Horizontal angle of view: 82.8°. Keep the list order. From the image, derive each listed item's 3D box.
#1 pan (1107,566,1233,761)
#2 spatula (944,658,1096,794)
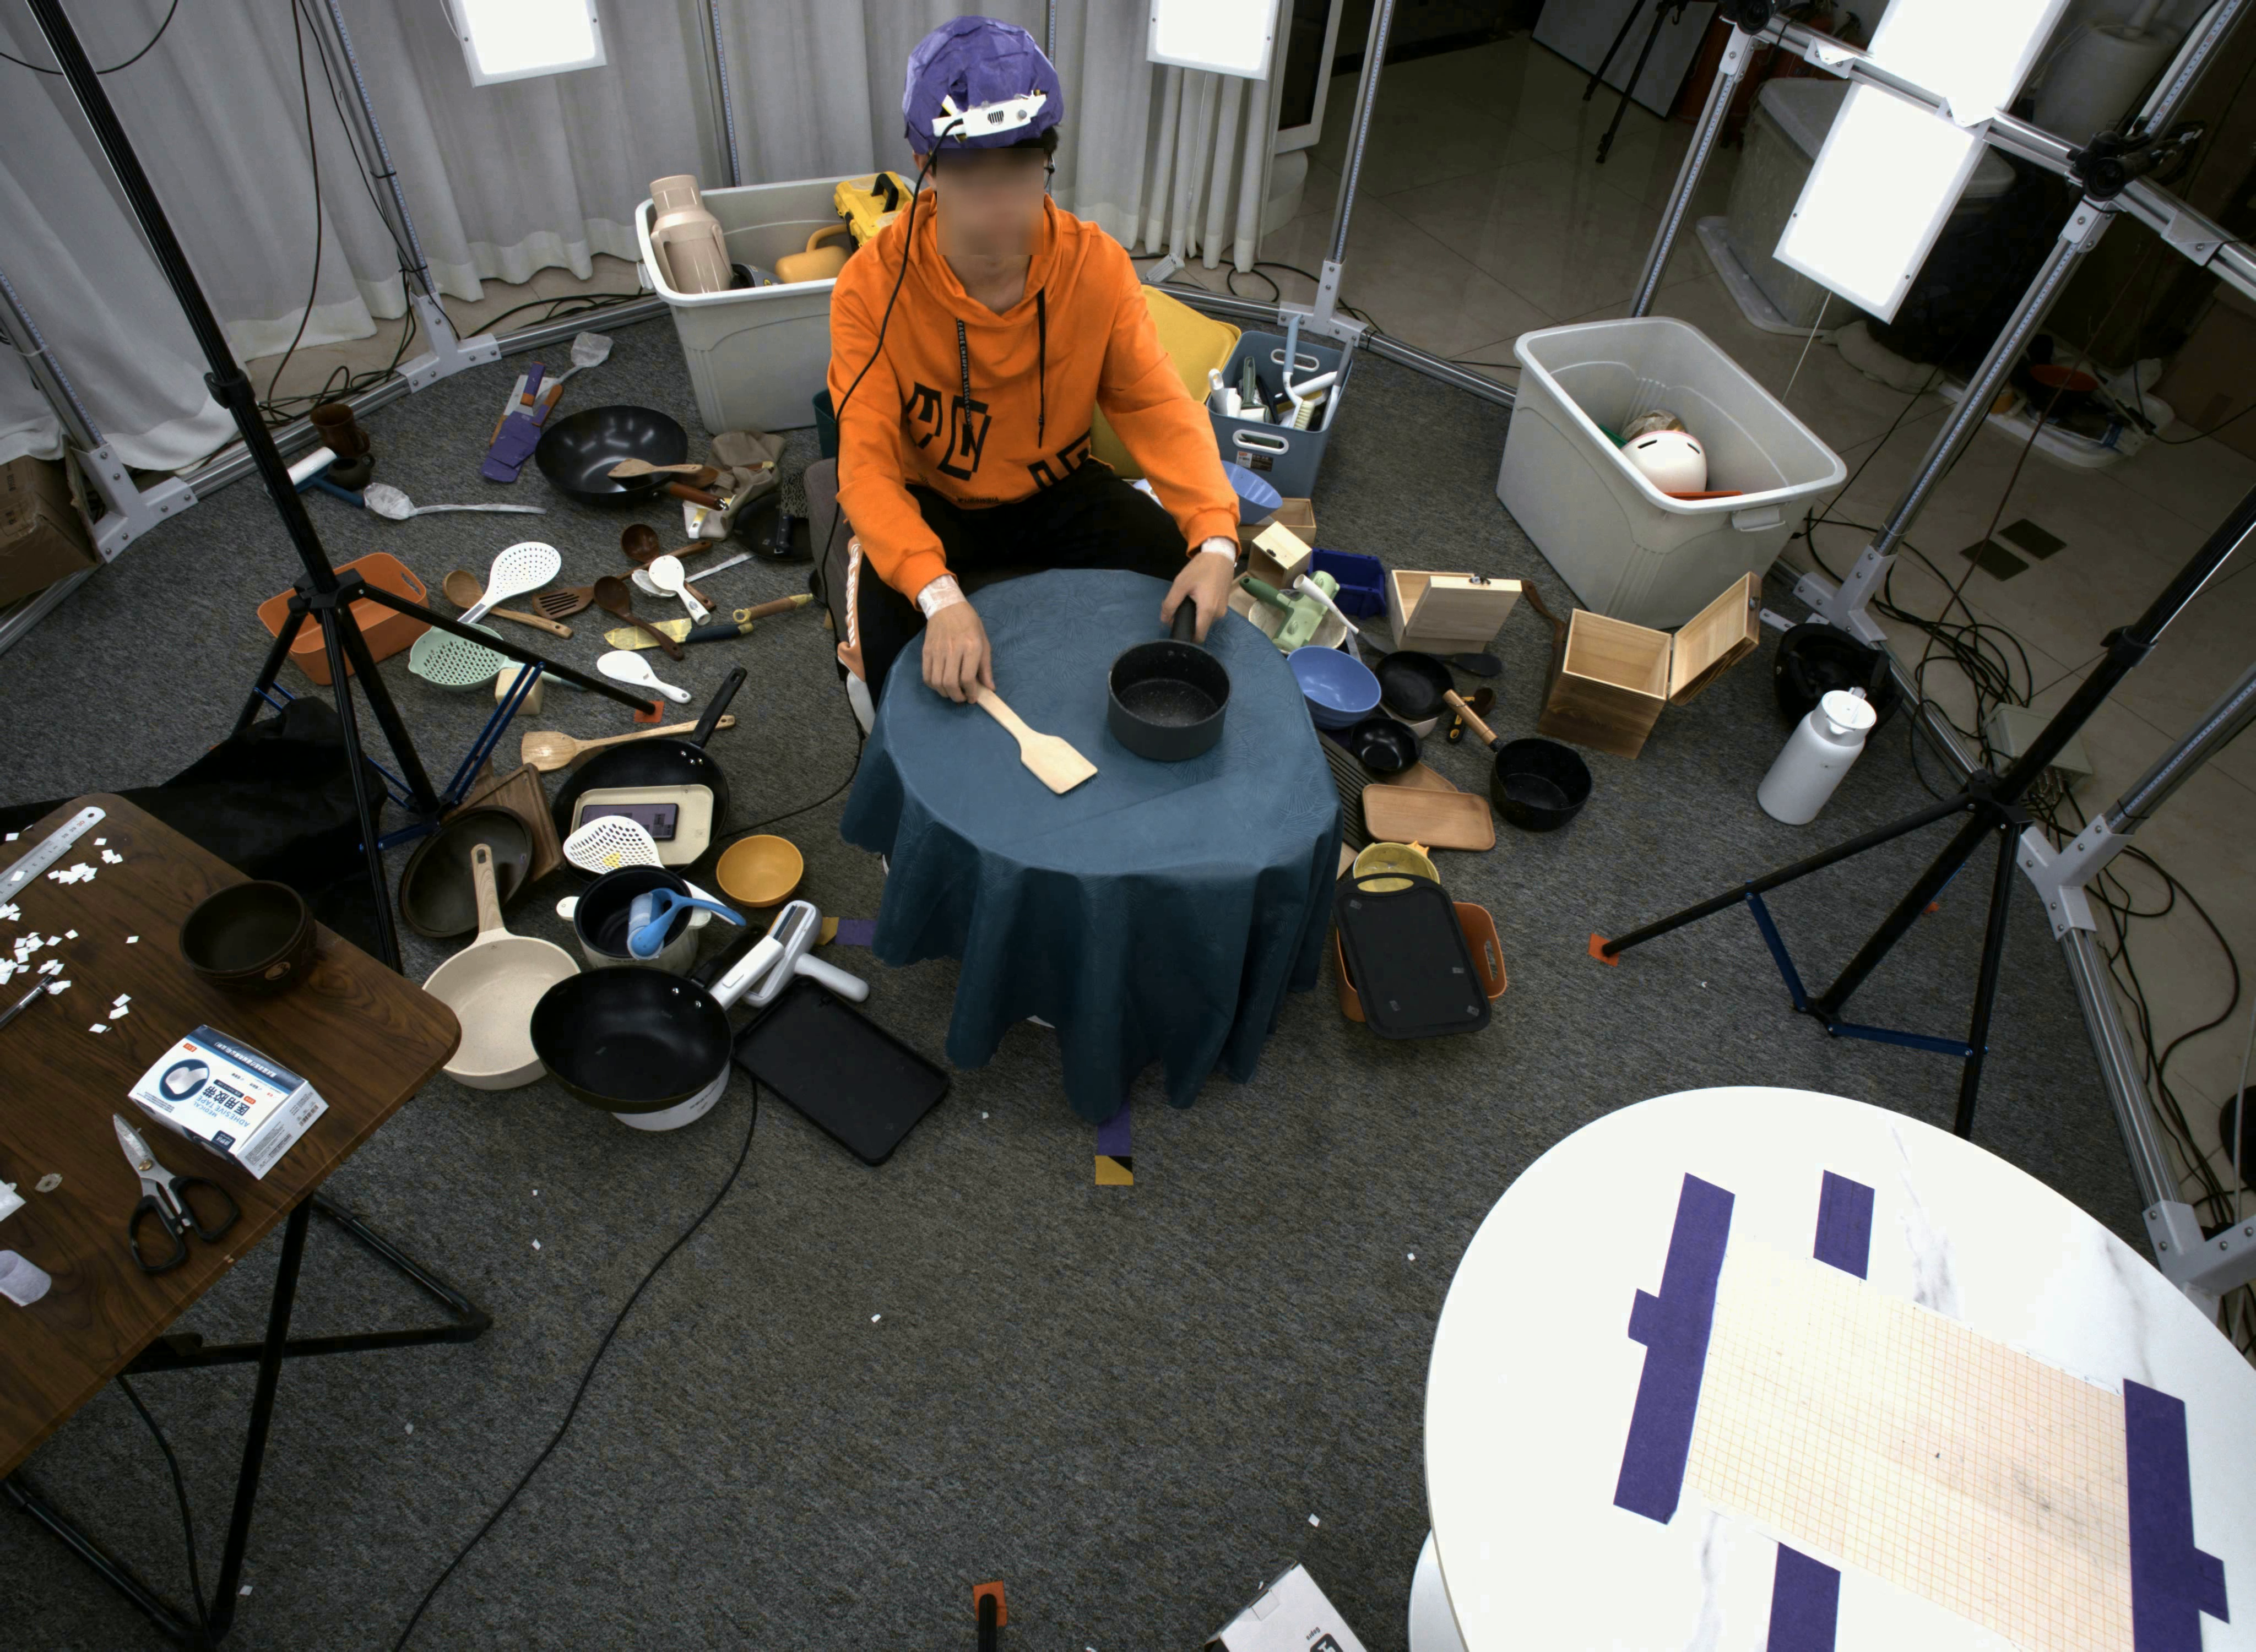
[{"bbox_3d":[0.073,-0.235,1.823,0.172,0.084,0.336,12,51,6],"label":"pan"},{"bbox_3d":[-0.162,-0.146,1.778,0.073,0.010,0.298,-33,59,-24],"label":"spatula"}]
